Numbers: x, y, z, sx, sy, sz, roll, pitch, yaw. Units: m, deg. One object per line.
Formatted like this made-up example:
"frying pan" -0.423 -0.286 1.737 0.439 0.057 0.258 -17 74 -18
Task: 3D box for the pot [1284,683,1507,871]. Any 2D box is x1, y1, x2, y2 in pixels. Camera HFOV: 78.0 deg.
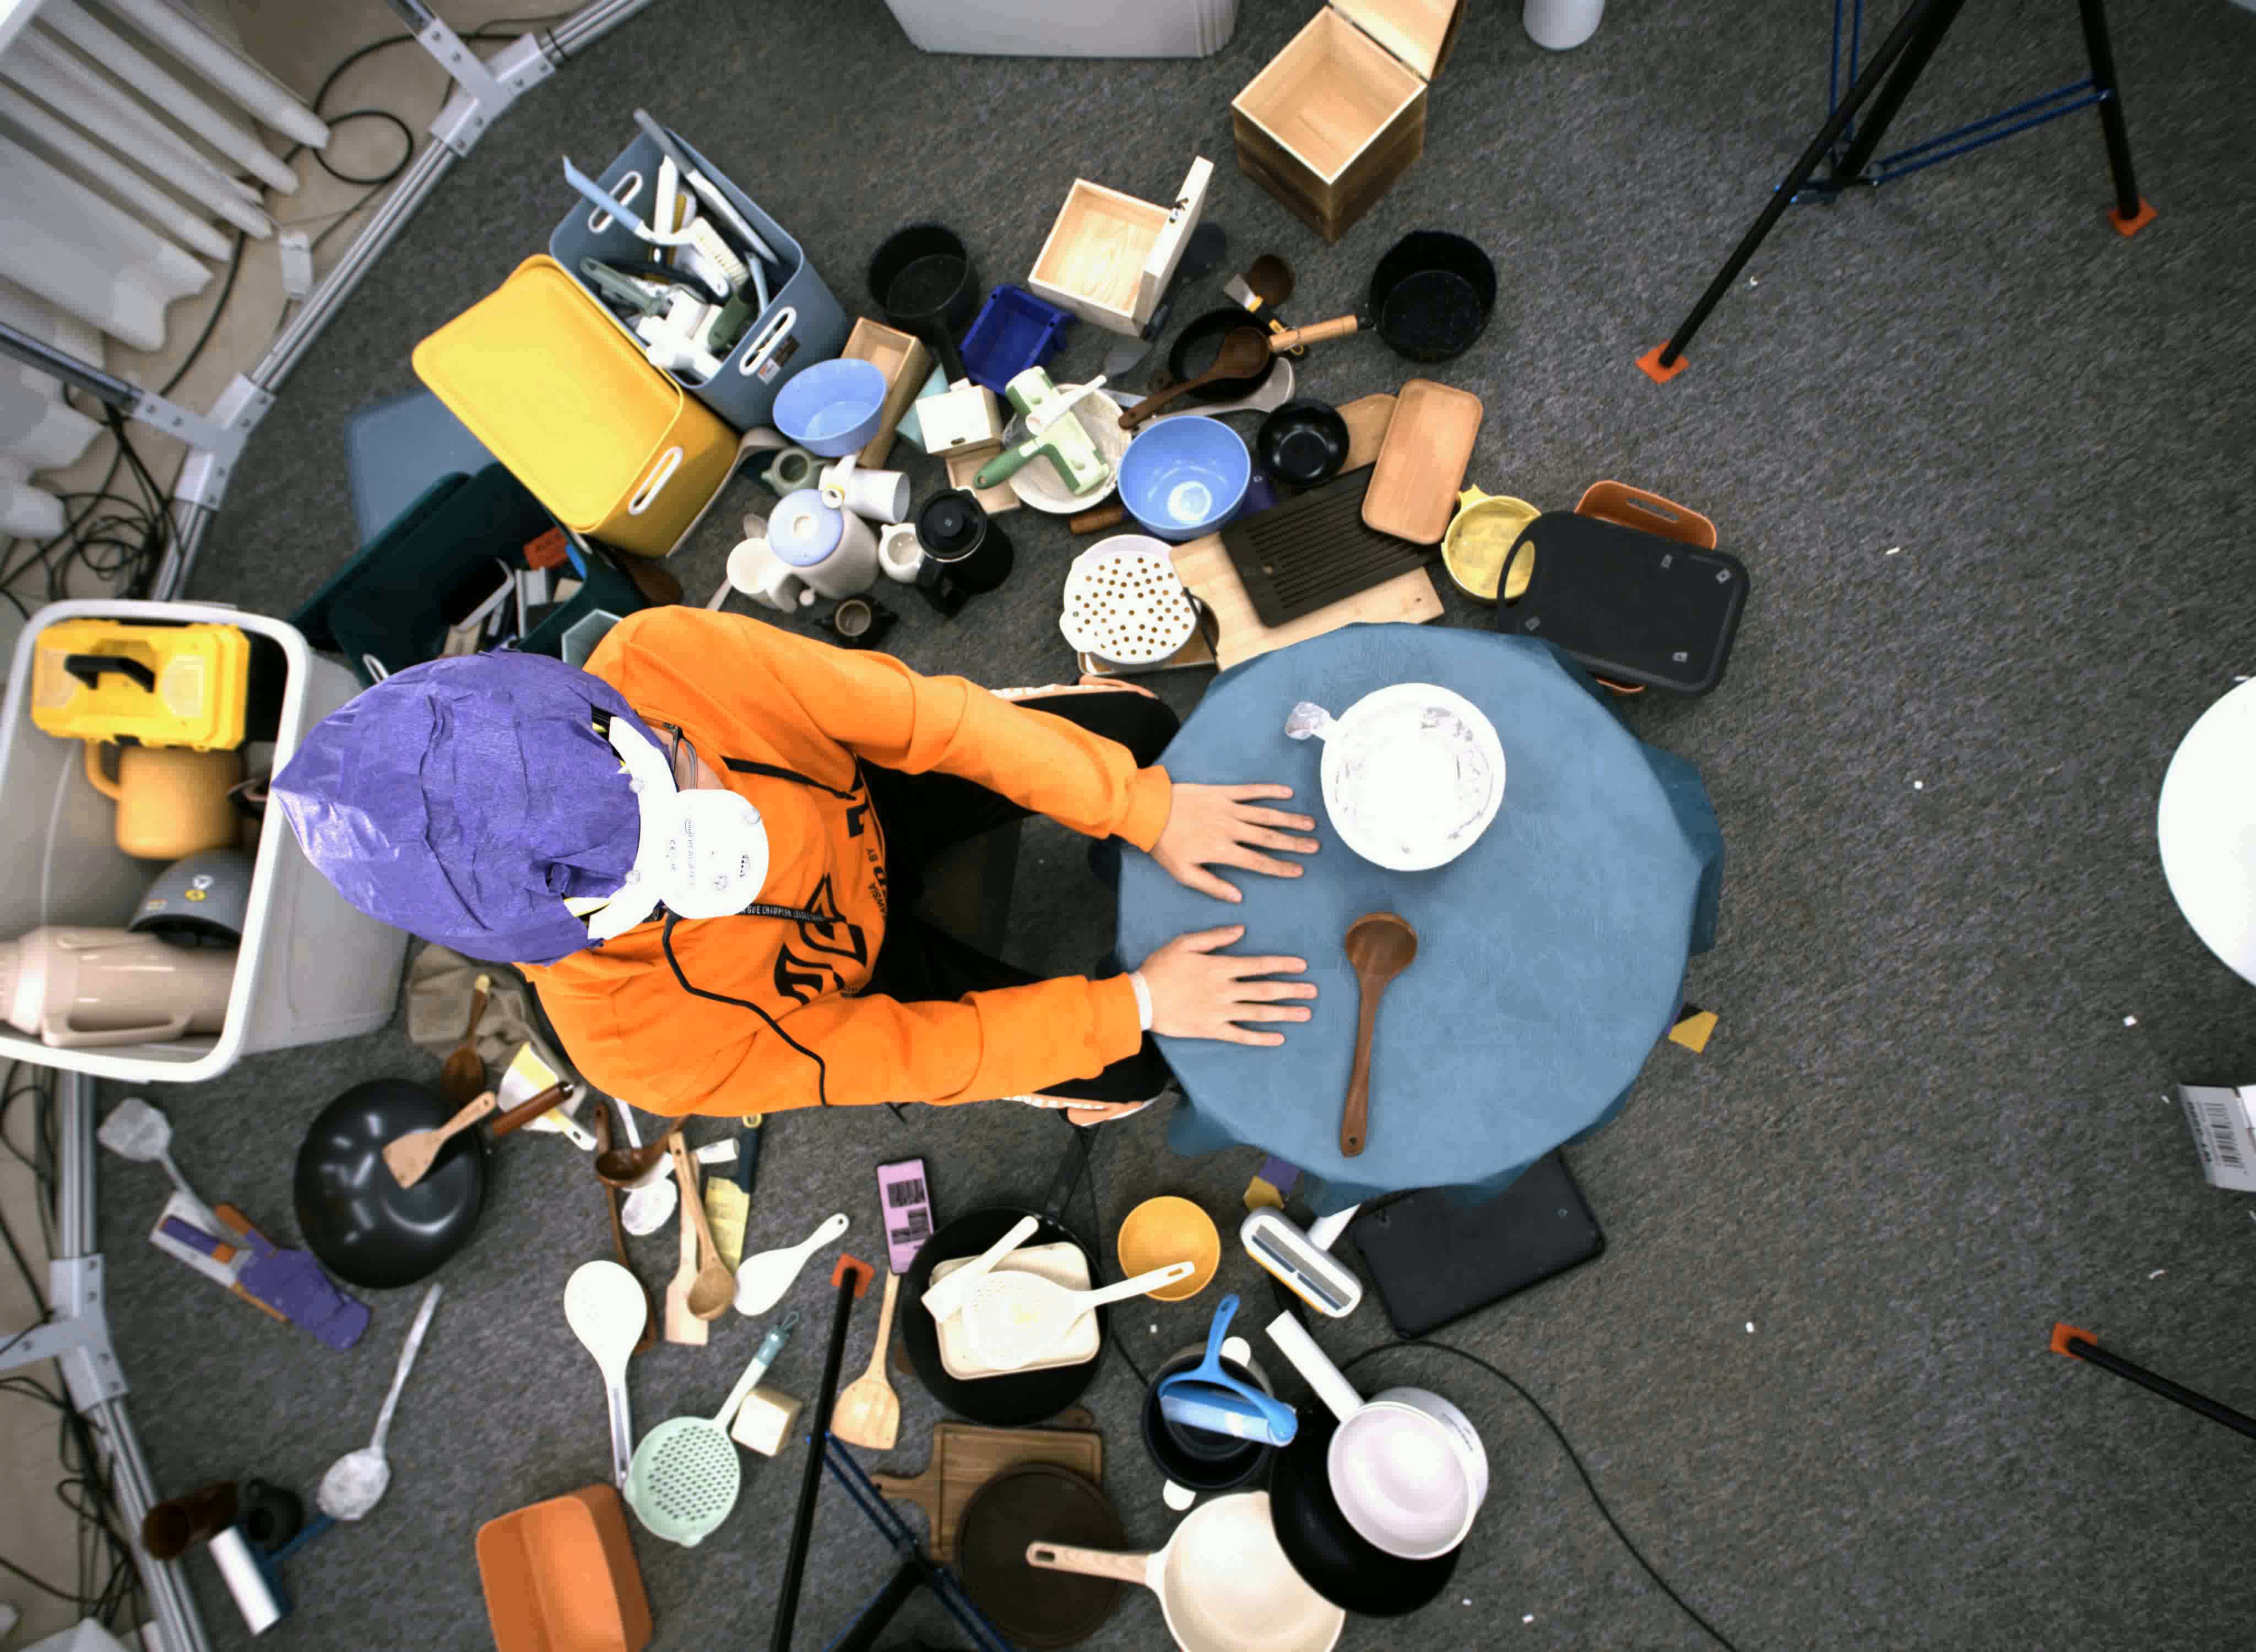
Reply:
"pot" 0.262 -0.060 1.399 0.233 0.137 0.179 30 91 11

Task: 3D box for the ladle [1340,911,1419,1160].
"ladle" 0.247 0.215 1.424 0.077 0.065 0.259 9 88 13
